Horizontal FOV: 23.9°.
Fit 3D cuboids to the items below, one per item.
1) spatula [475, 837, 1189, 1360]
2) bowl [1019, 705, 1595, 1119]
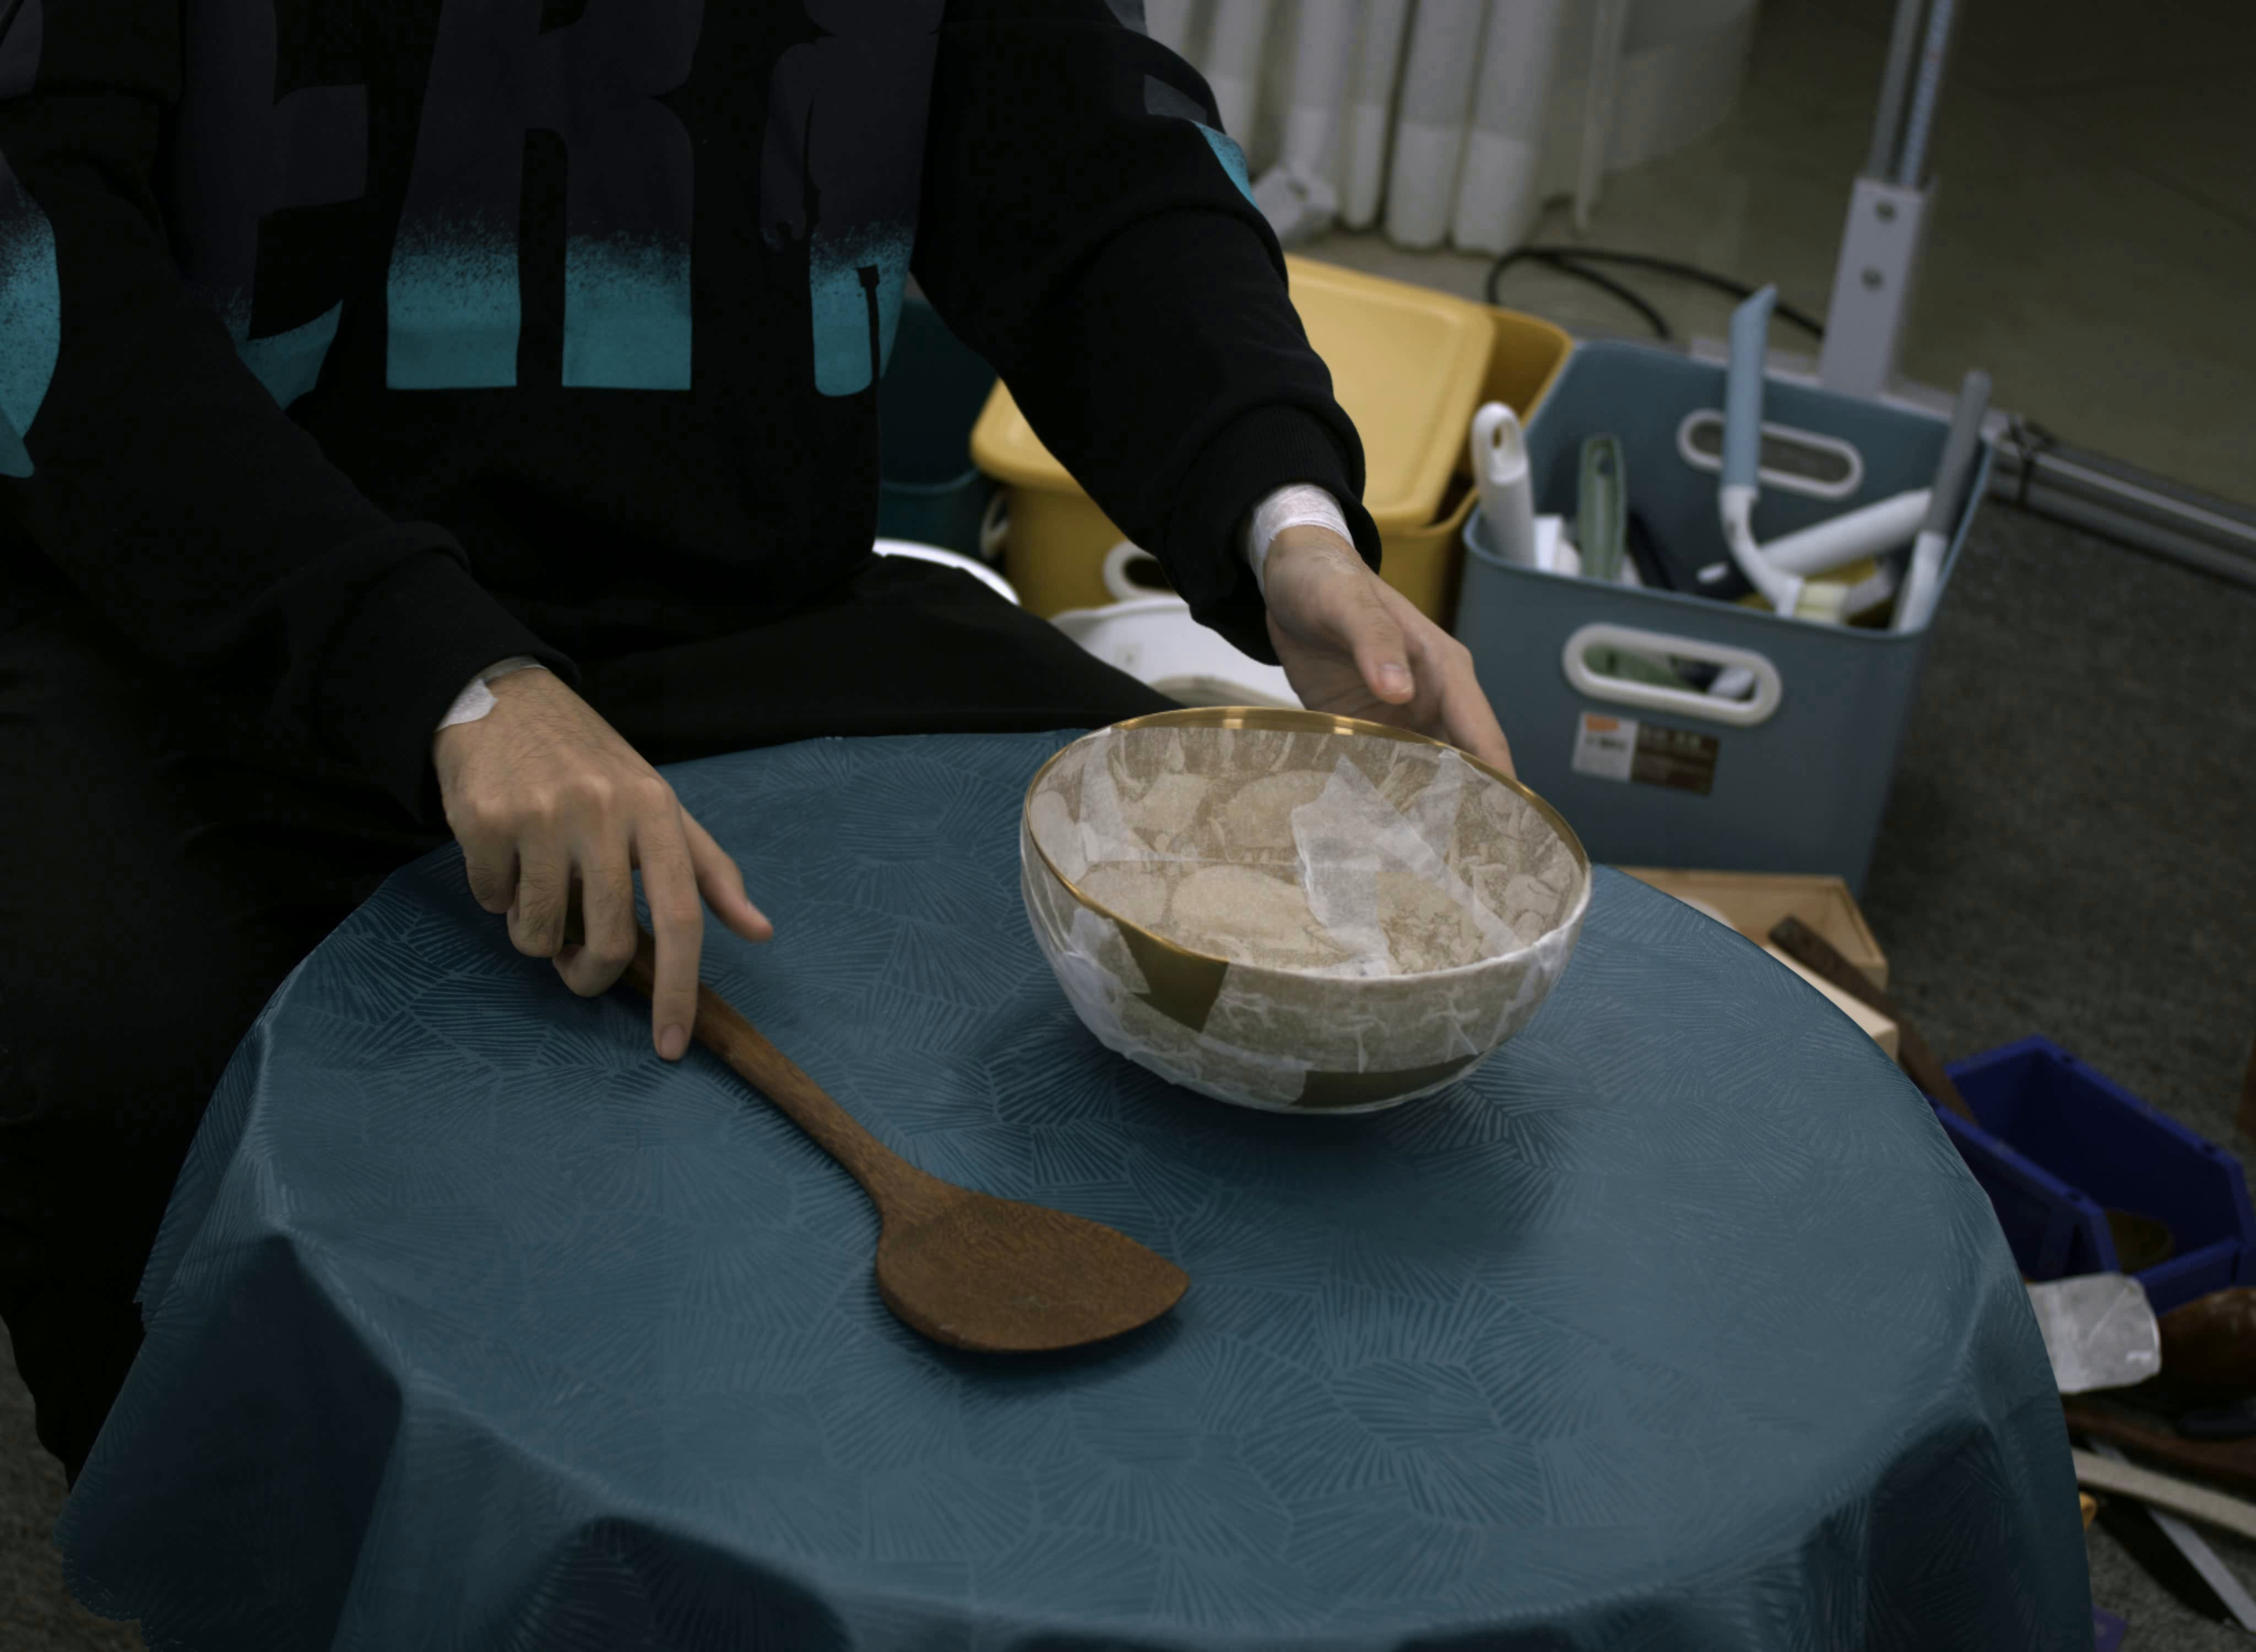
[{"bbox_3d":[-0.122,0.085,1.830,0.095,0.016,0.389,-12,33,-35],"label":"spatula"},{"bbox_3d":[0.059,0.041,1.874,0.214,0.094,0.216,4,26,-2],"label":"bowl"}]
